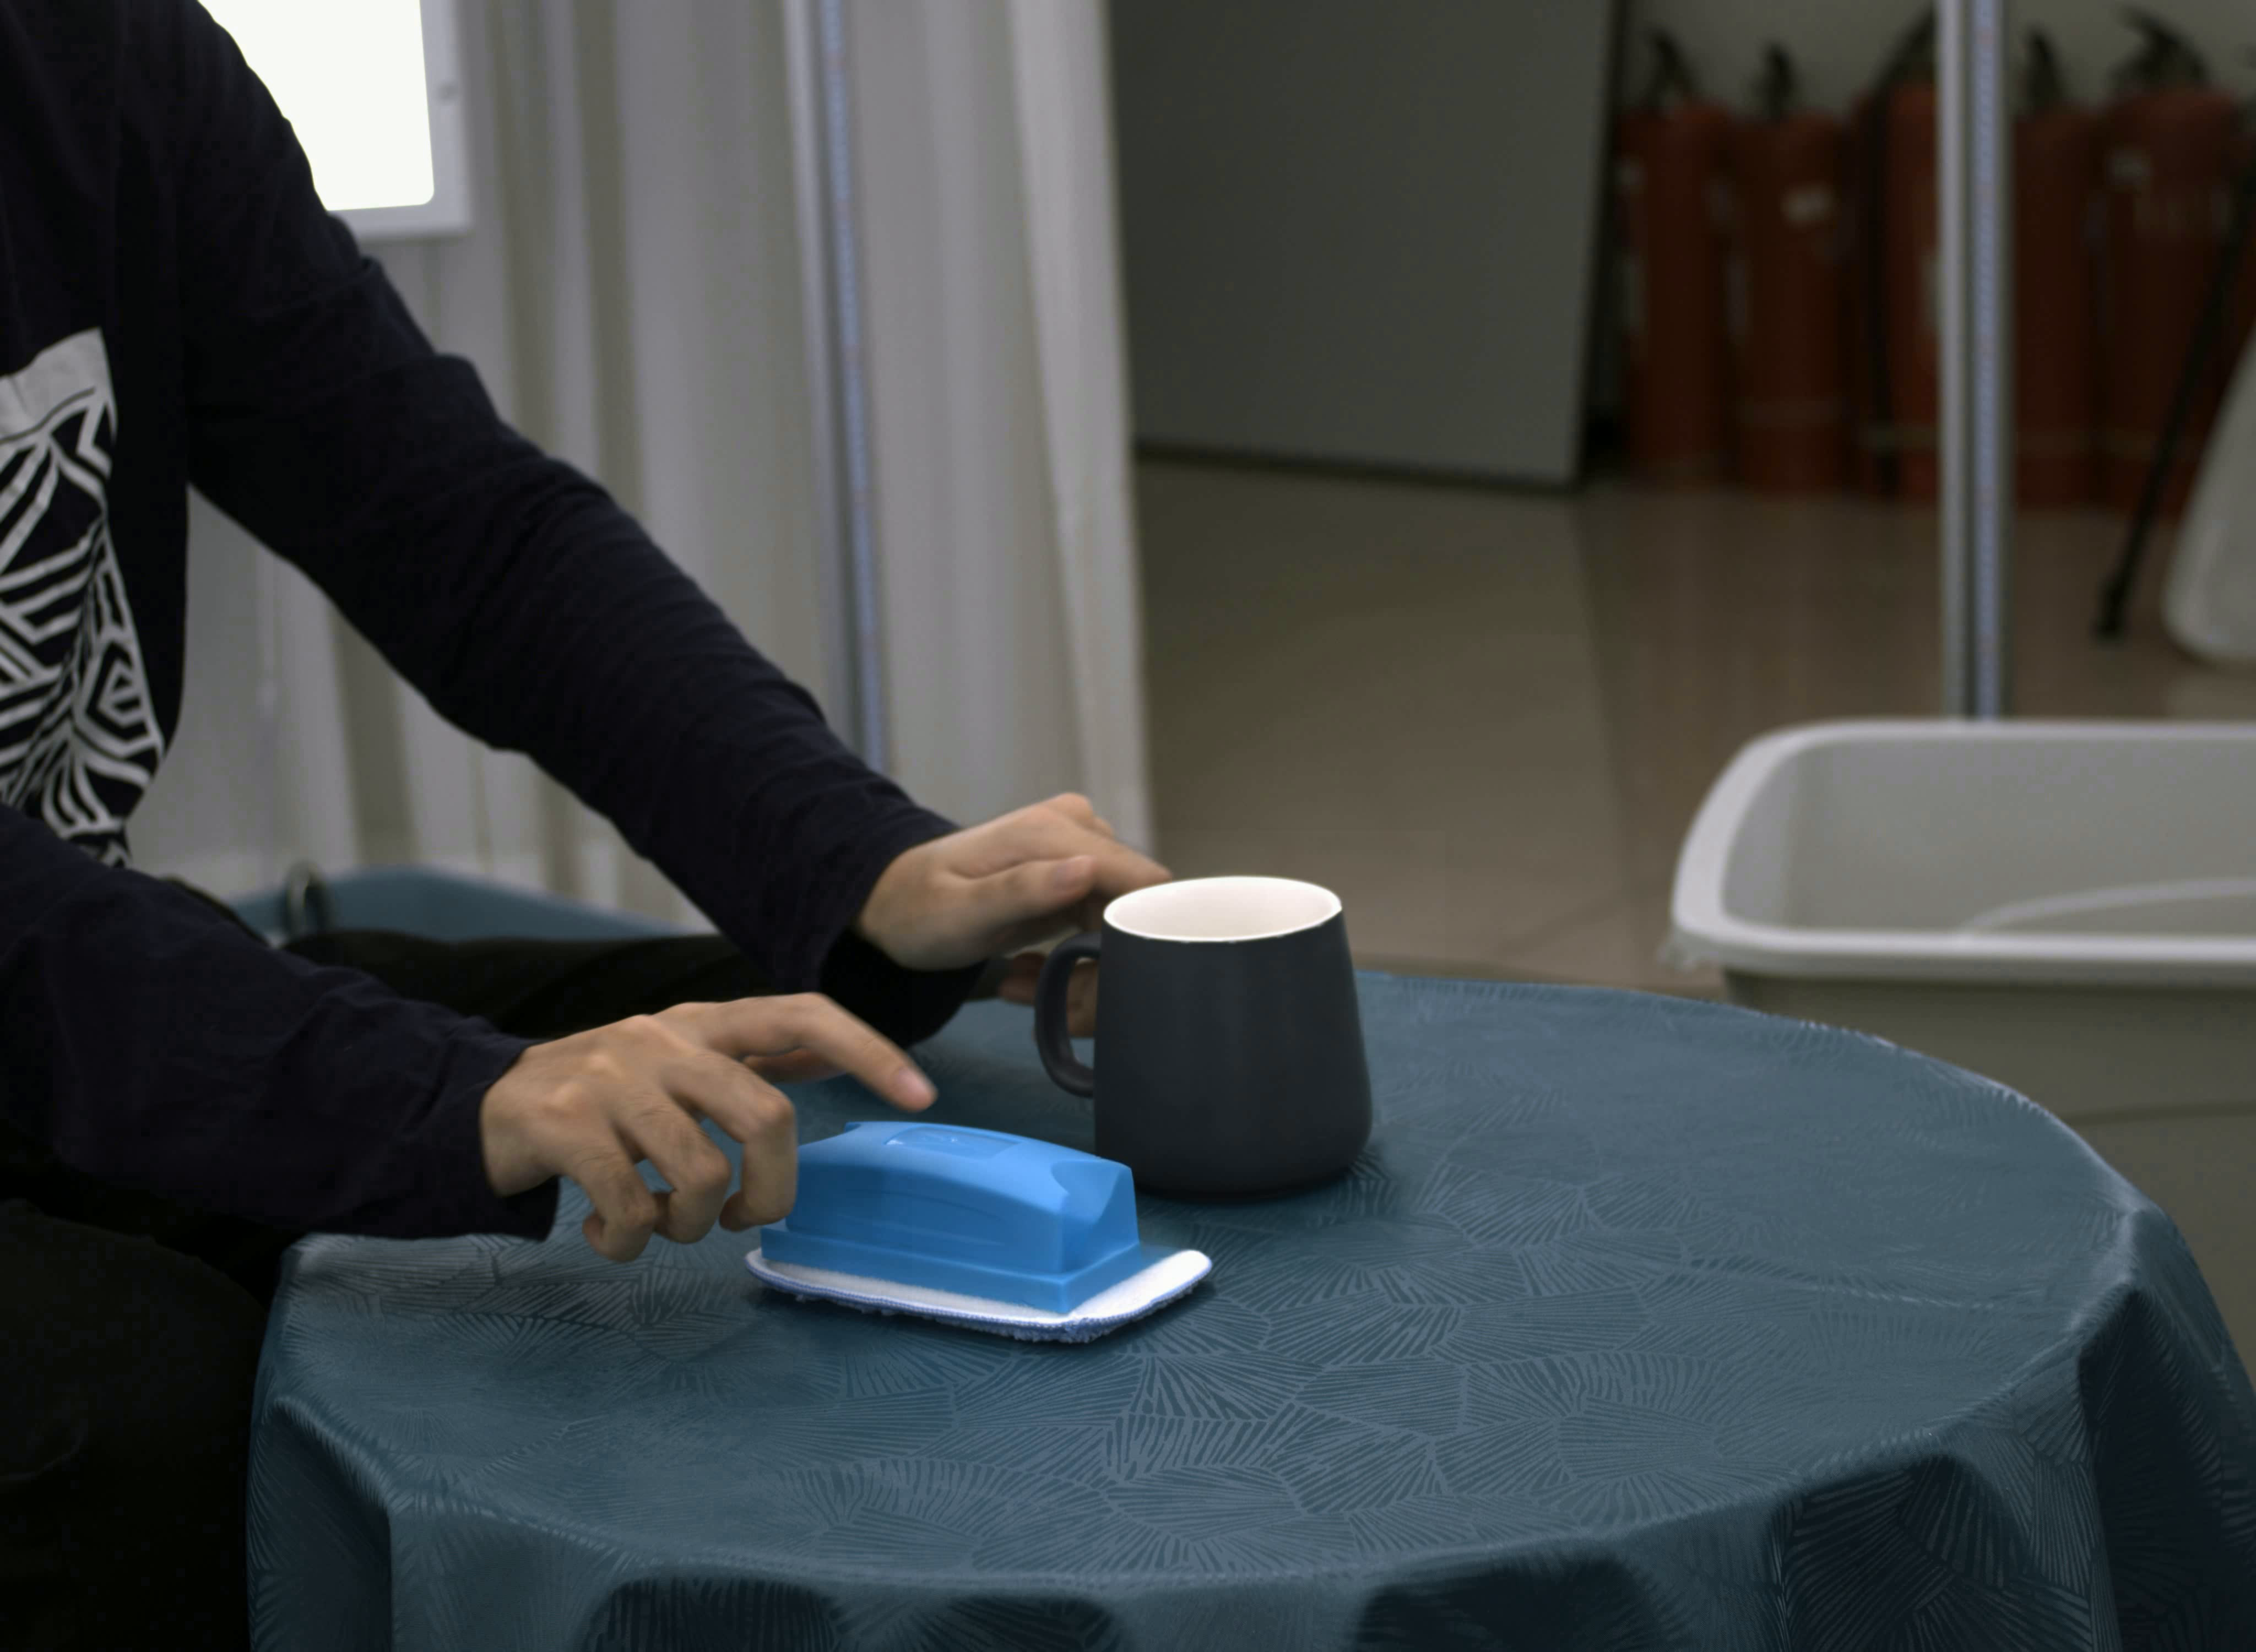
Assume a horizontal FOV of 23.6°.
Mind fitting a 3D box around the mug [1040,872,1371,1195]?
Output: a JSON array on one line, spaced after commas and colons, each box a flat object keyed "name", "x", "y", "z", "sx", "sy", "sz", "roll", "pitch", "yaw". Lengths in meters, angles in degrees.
[{"name": "mug", "x": 0.022, "y": 0.066, "z": 1.791, "sx": 0.124, "sy": 0.091, "sz": 0.092, "roll": 9, "pitch": 17, "yaw": 37}]

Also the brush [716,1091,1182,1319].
[{"name": "brush", "x": -0.056, "y": 0.117, "z": 1.683, "sx": 0.145, "sy": 0.056, "sz": 0.082, "roll": 10, "pitch": 16, "yaw": 37}]
